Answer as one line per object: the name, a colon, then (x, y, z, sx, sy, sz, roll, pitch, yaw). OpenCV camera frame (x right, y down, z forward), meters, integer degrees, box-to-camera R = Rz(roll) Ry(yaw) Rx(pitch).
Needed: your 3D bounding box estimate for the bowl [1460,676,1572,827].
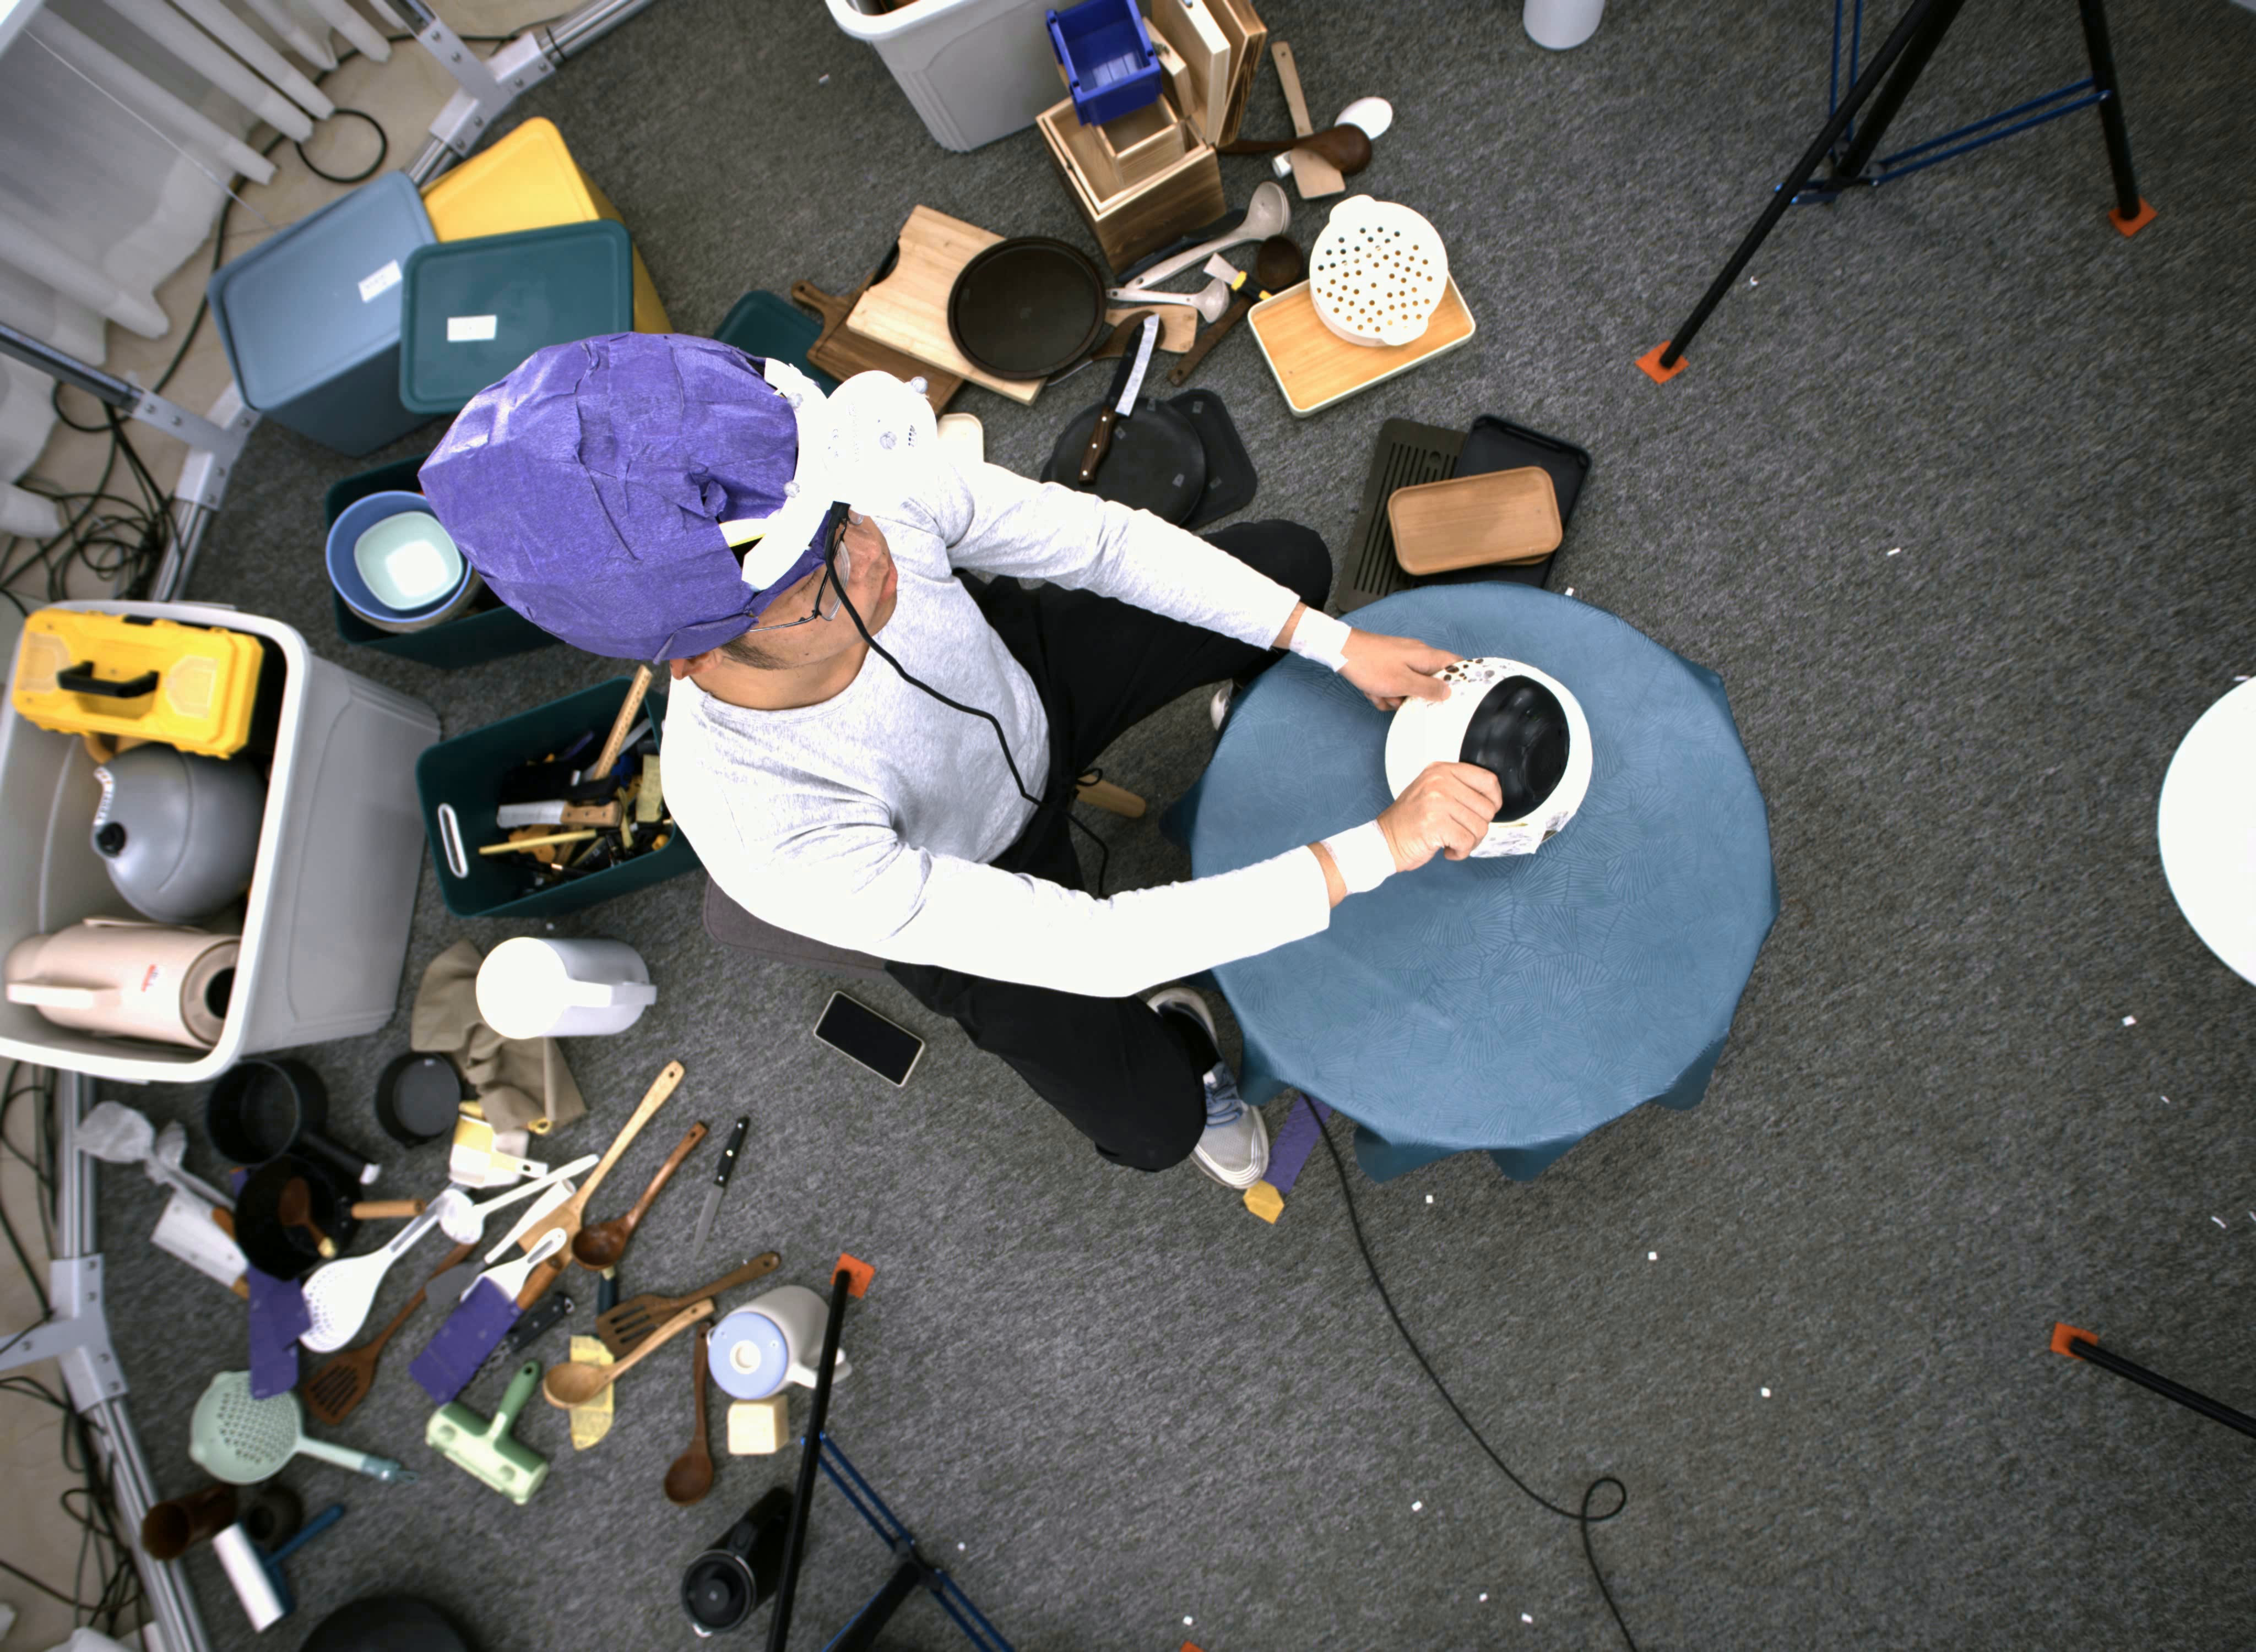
bowl: (0.360, -0.065, 1.236, 0.050, 0.140, 0.140, 19, 89, 46)

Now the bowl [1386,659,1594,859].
bowl: (0.368, -0.066, 1.409, 0.205, 0.078, 0.203, -1, 85, 12)
